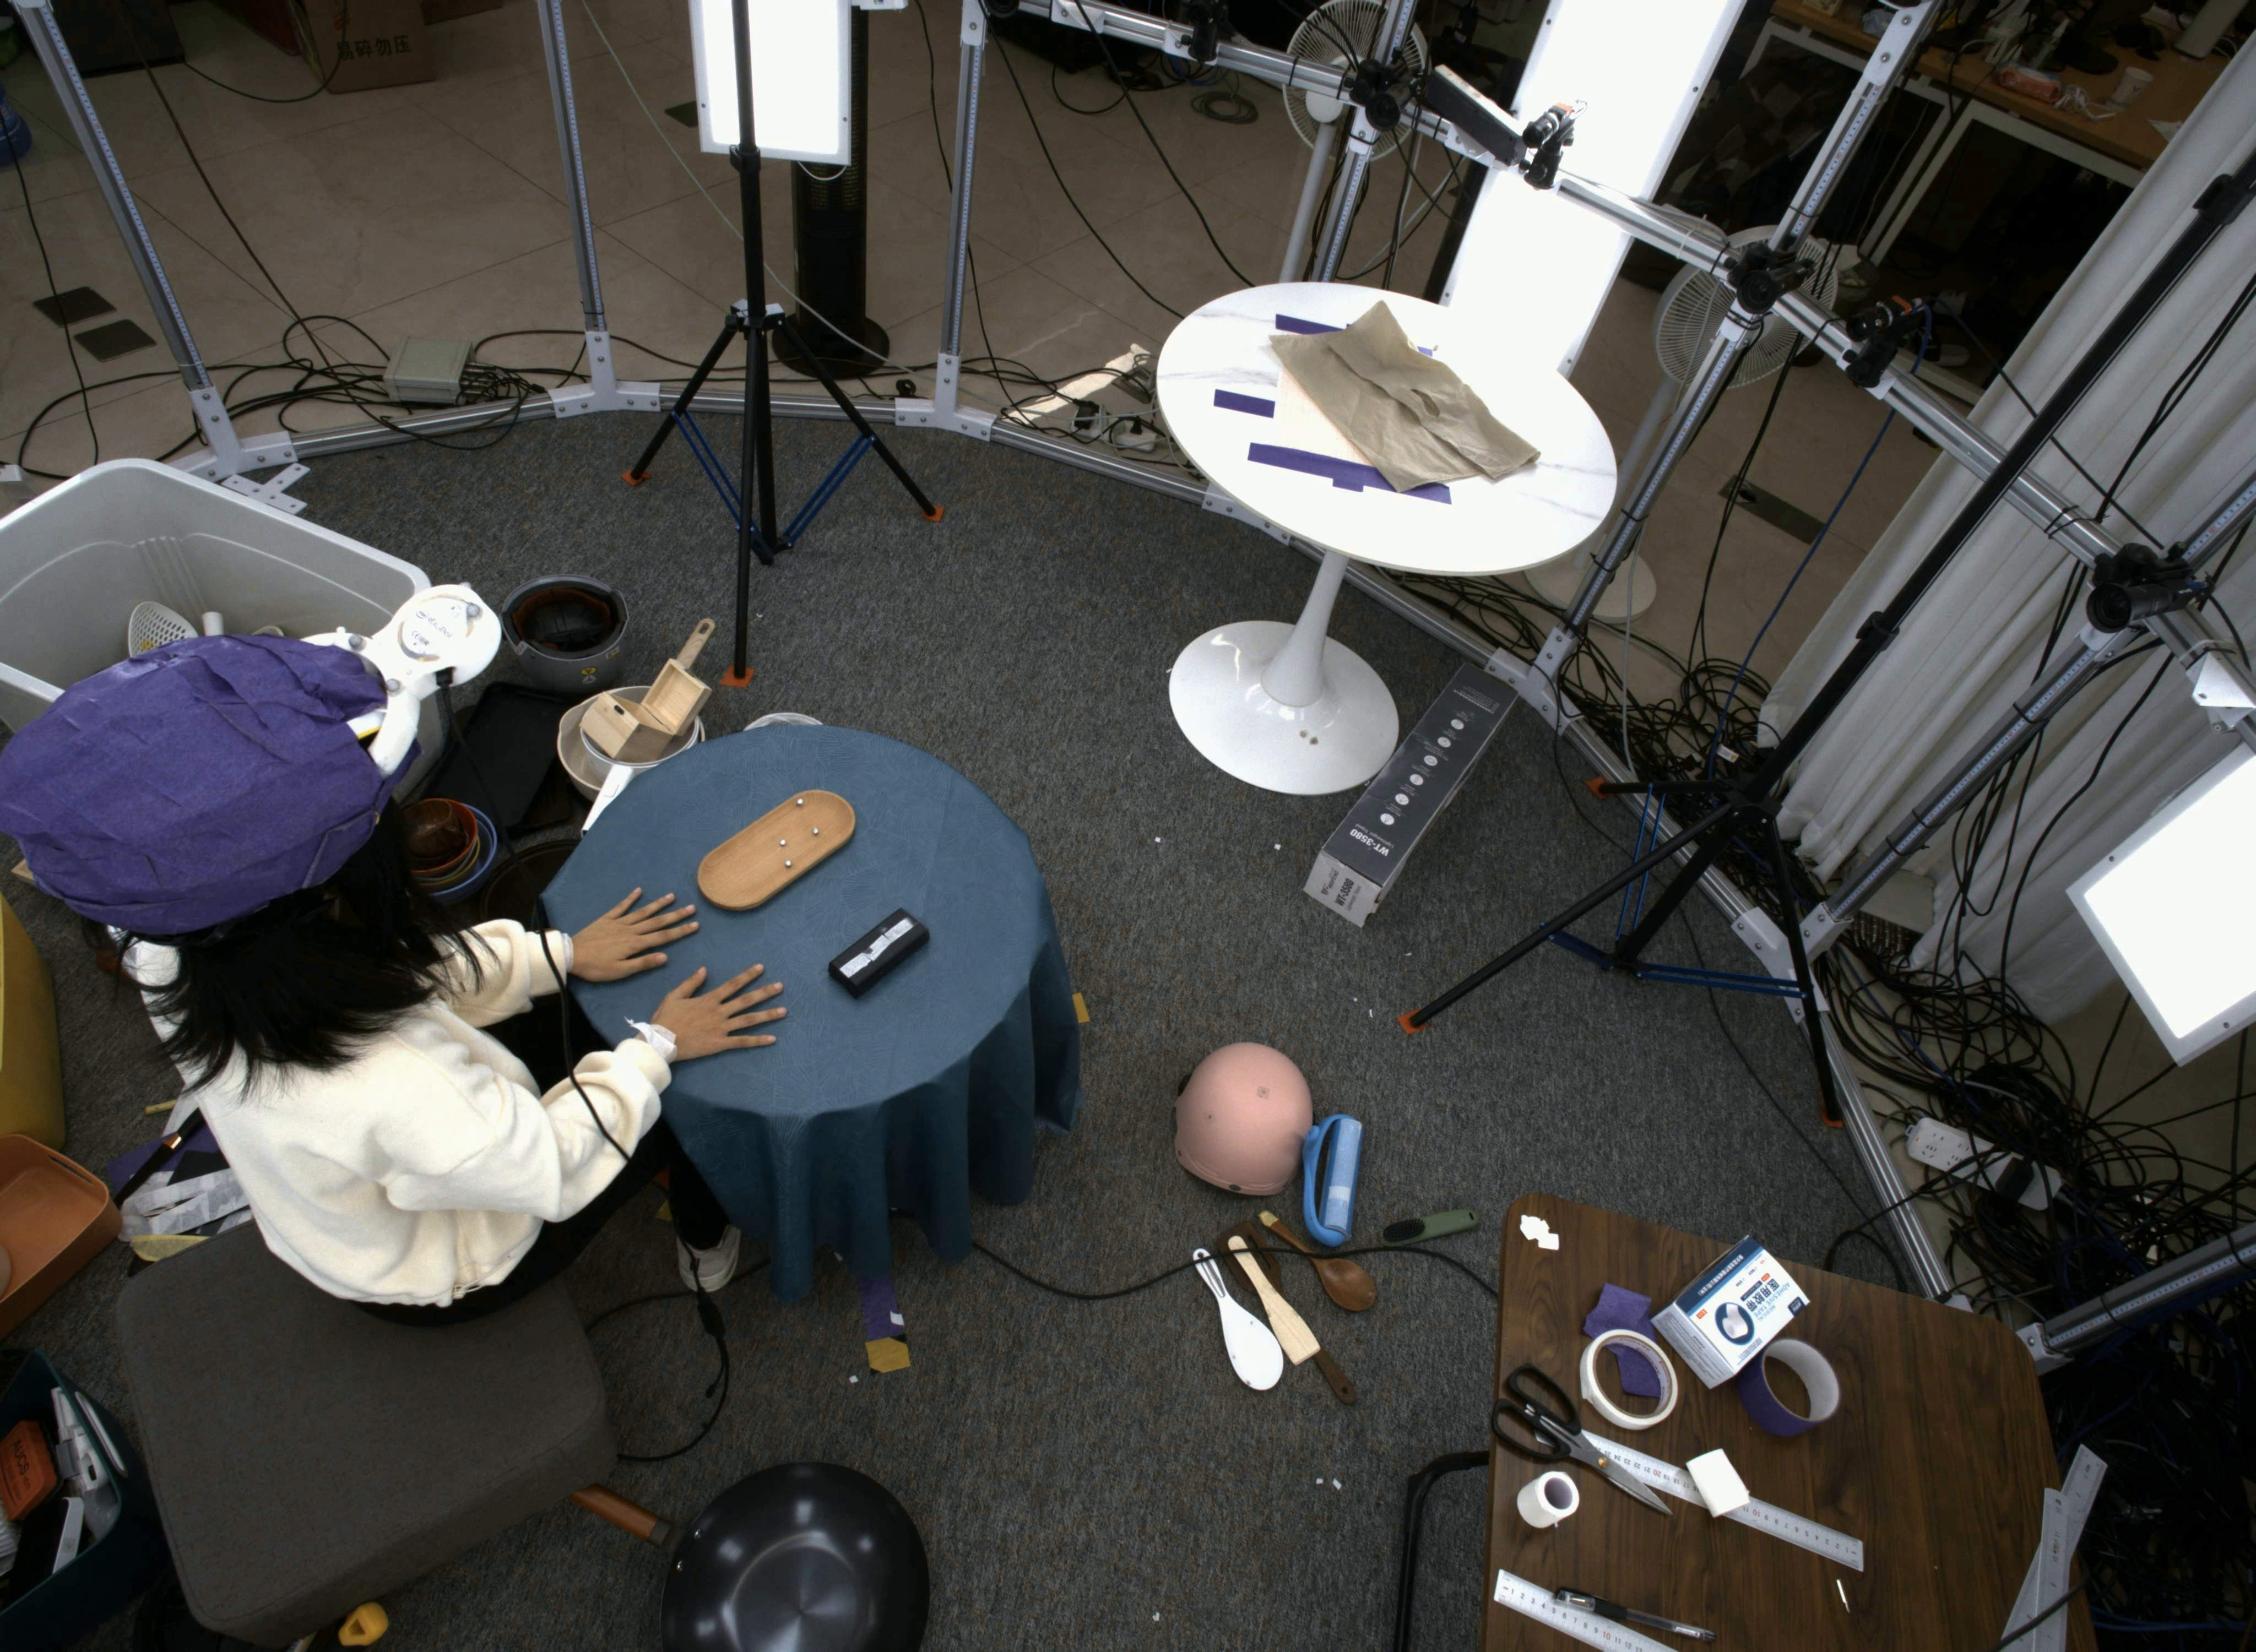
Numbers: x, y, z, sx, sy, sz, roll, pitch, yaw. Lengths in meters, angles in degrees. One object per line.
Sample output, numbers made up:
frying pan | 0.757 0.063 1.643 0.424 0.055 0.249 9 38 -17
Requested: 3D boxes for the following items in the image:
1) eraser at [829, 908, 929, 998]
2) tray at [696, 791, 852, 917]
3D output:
eraser | -0.308 0.154 1.616 0.052 0.031 0.125 34 52 20
tray | -0.456 0.033 1.676 0.099 0.021 0.231 37 55 14
